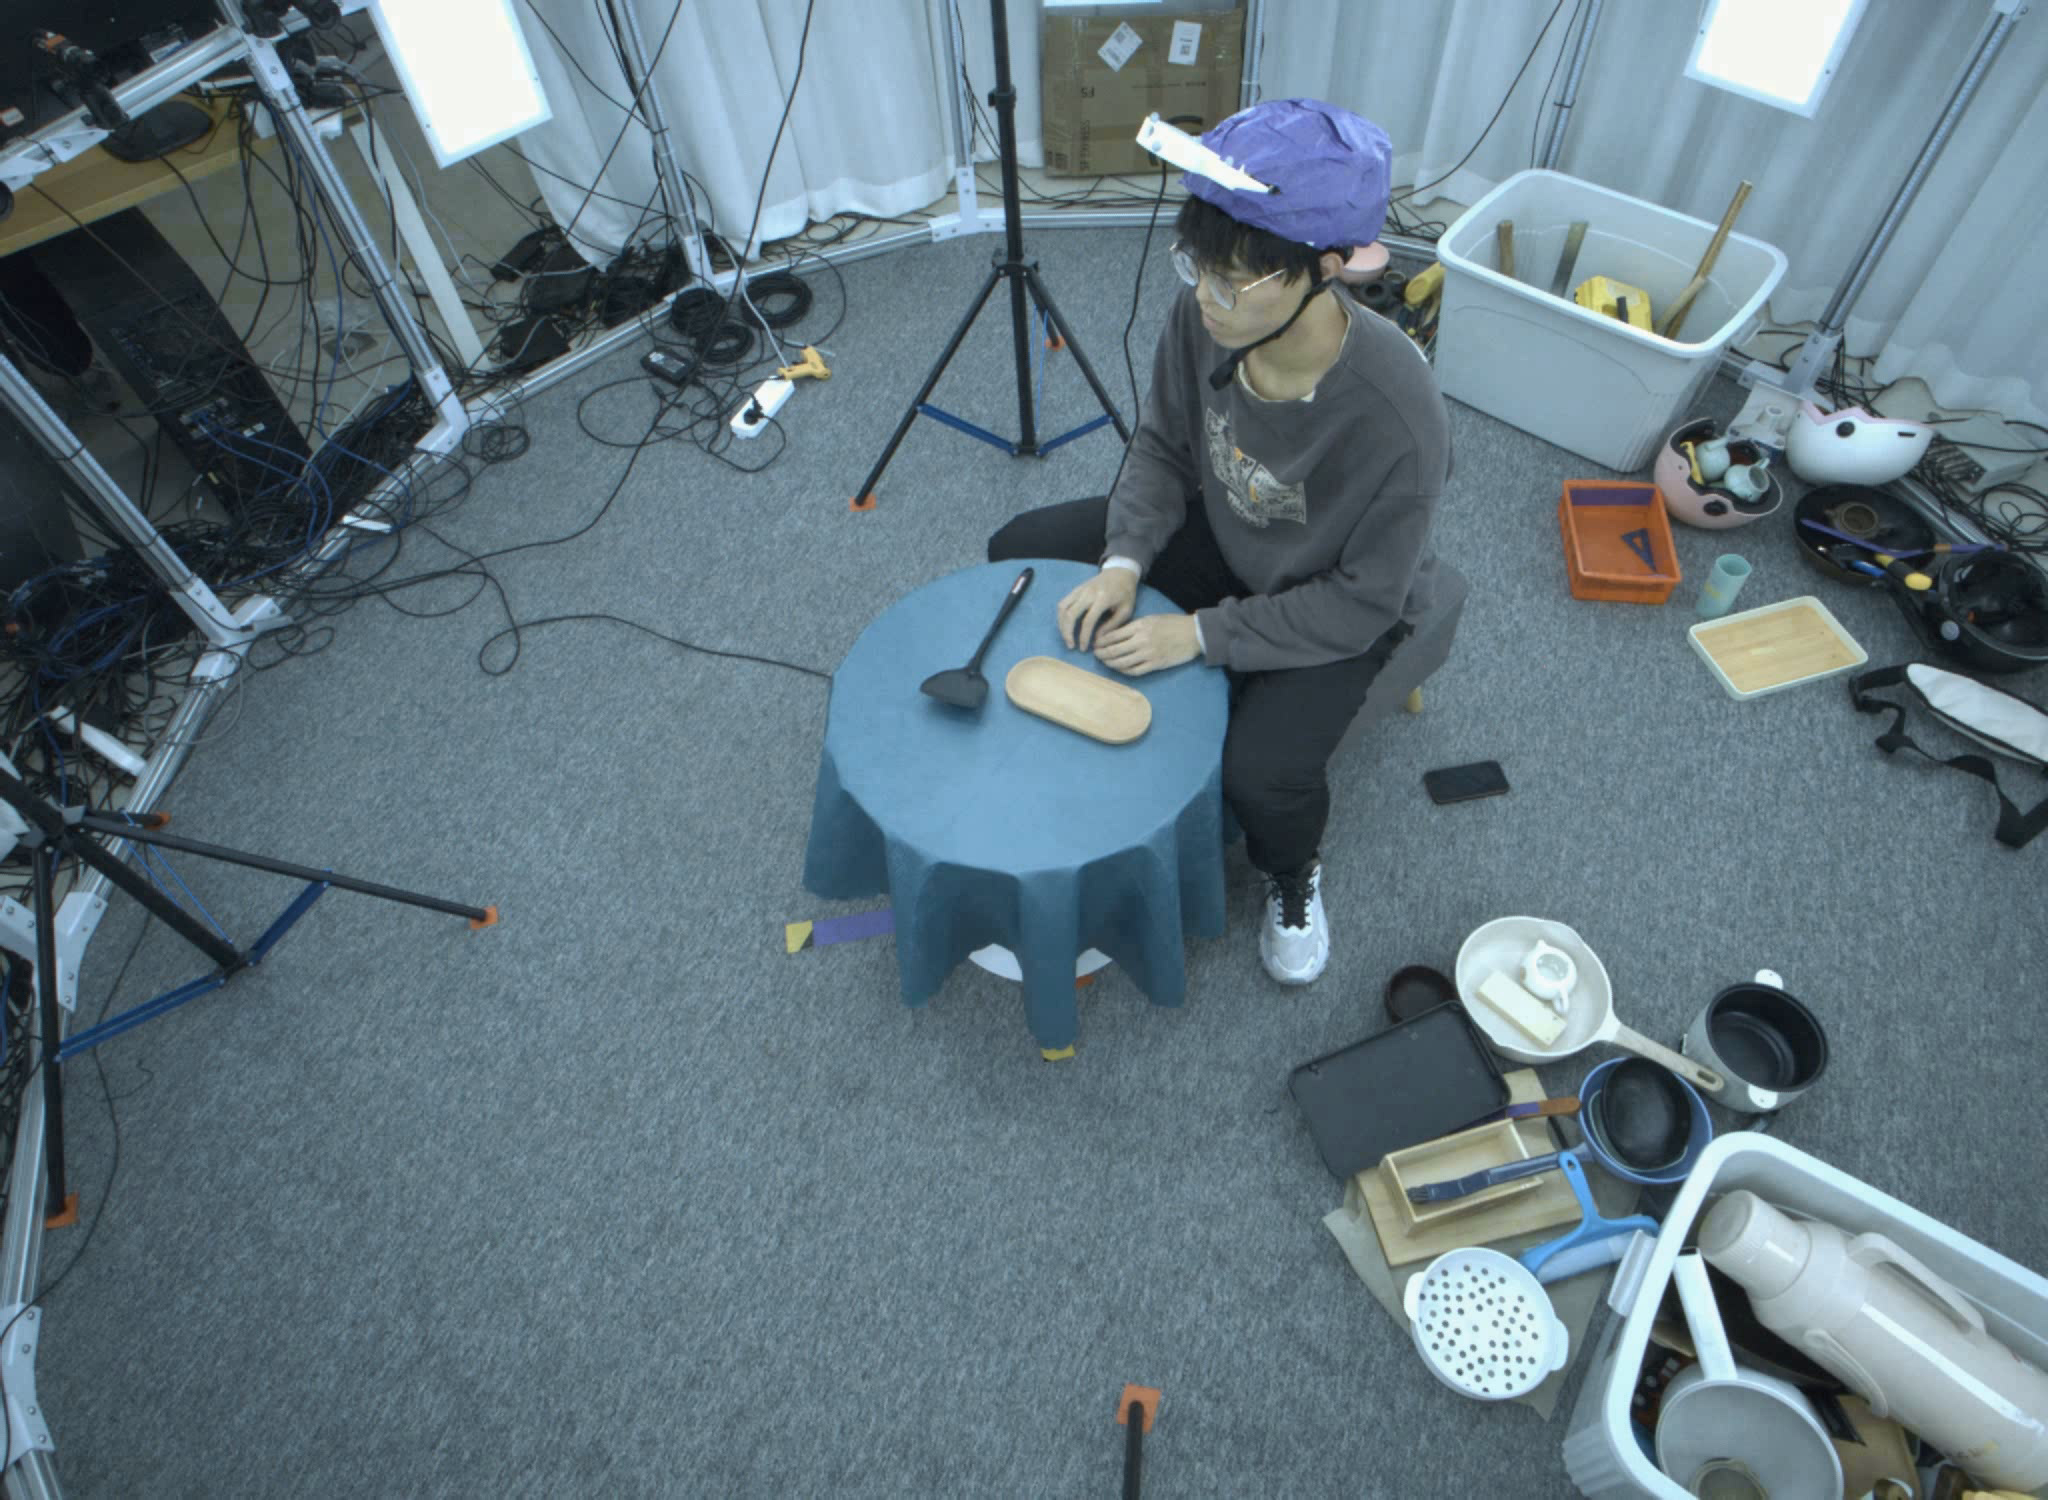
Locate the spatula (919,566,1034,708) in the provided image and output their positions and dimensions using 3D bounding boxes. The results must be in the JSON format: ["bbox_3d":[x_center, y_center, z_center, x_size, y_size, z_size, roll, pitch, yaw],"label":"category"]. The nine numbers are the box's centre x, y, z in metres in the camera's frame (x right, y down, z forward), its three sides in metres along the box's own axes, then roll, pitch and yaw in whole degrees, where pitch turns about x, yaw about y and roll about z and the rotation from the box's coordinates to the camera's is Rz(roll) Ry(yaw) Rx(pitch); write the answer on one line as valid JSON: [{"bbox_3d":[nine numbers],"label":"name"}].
[{"bbox_3d":[-0.052,-0.183,1.896,0.099,0.041,0.326,18,57,14],"label":"spatula"}]

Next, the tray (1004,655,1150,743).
[{"bbox_3d":[0.077,-0.075,1.827,0.228,0.020,0.102,22,58,18],"label":"tray"}]
